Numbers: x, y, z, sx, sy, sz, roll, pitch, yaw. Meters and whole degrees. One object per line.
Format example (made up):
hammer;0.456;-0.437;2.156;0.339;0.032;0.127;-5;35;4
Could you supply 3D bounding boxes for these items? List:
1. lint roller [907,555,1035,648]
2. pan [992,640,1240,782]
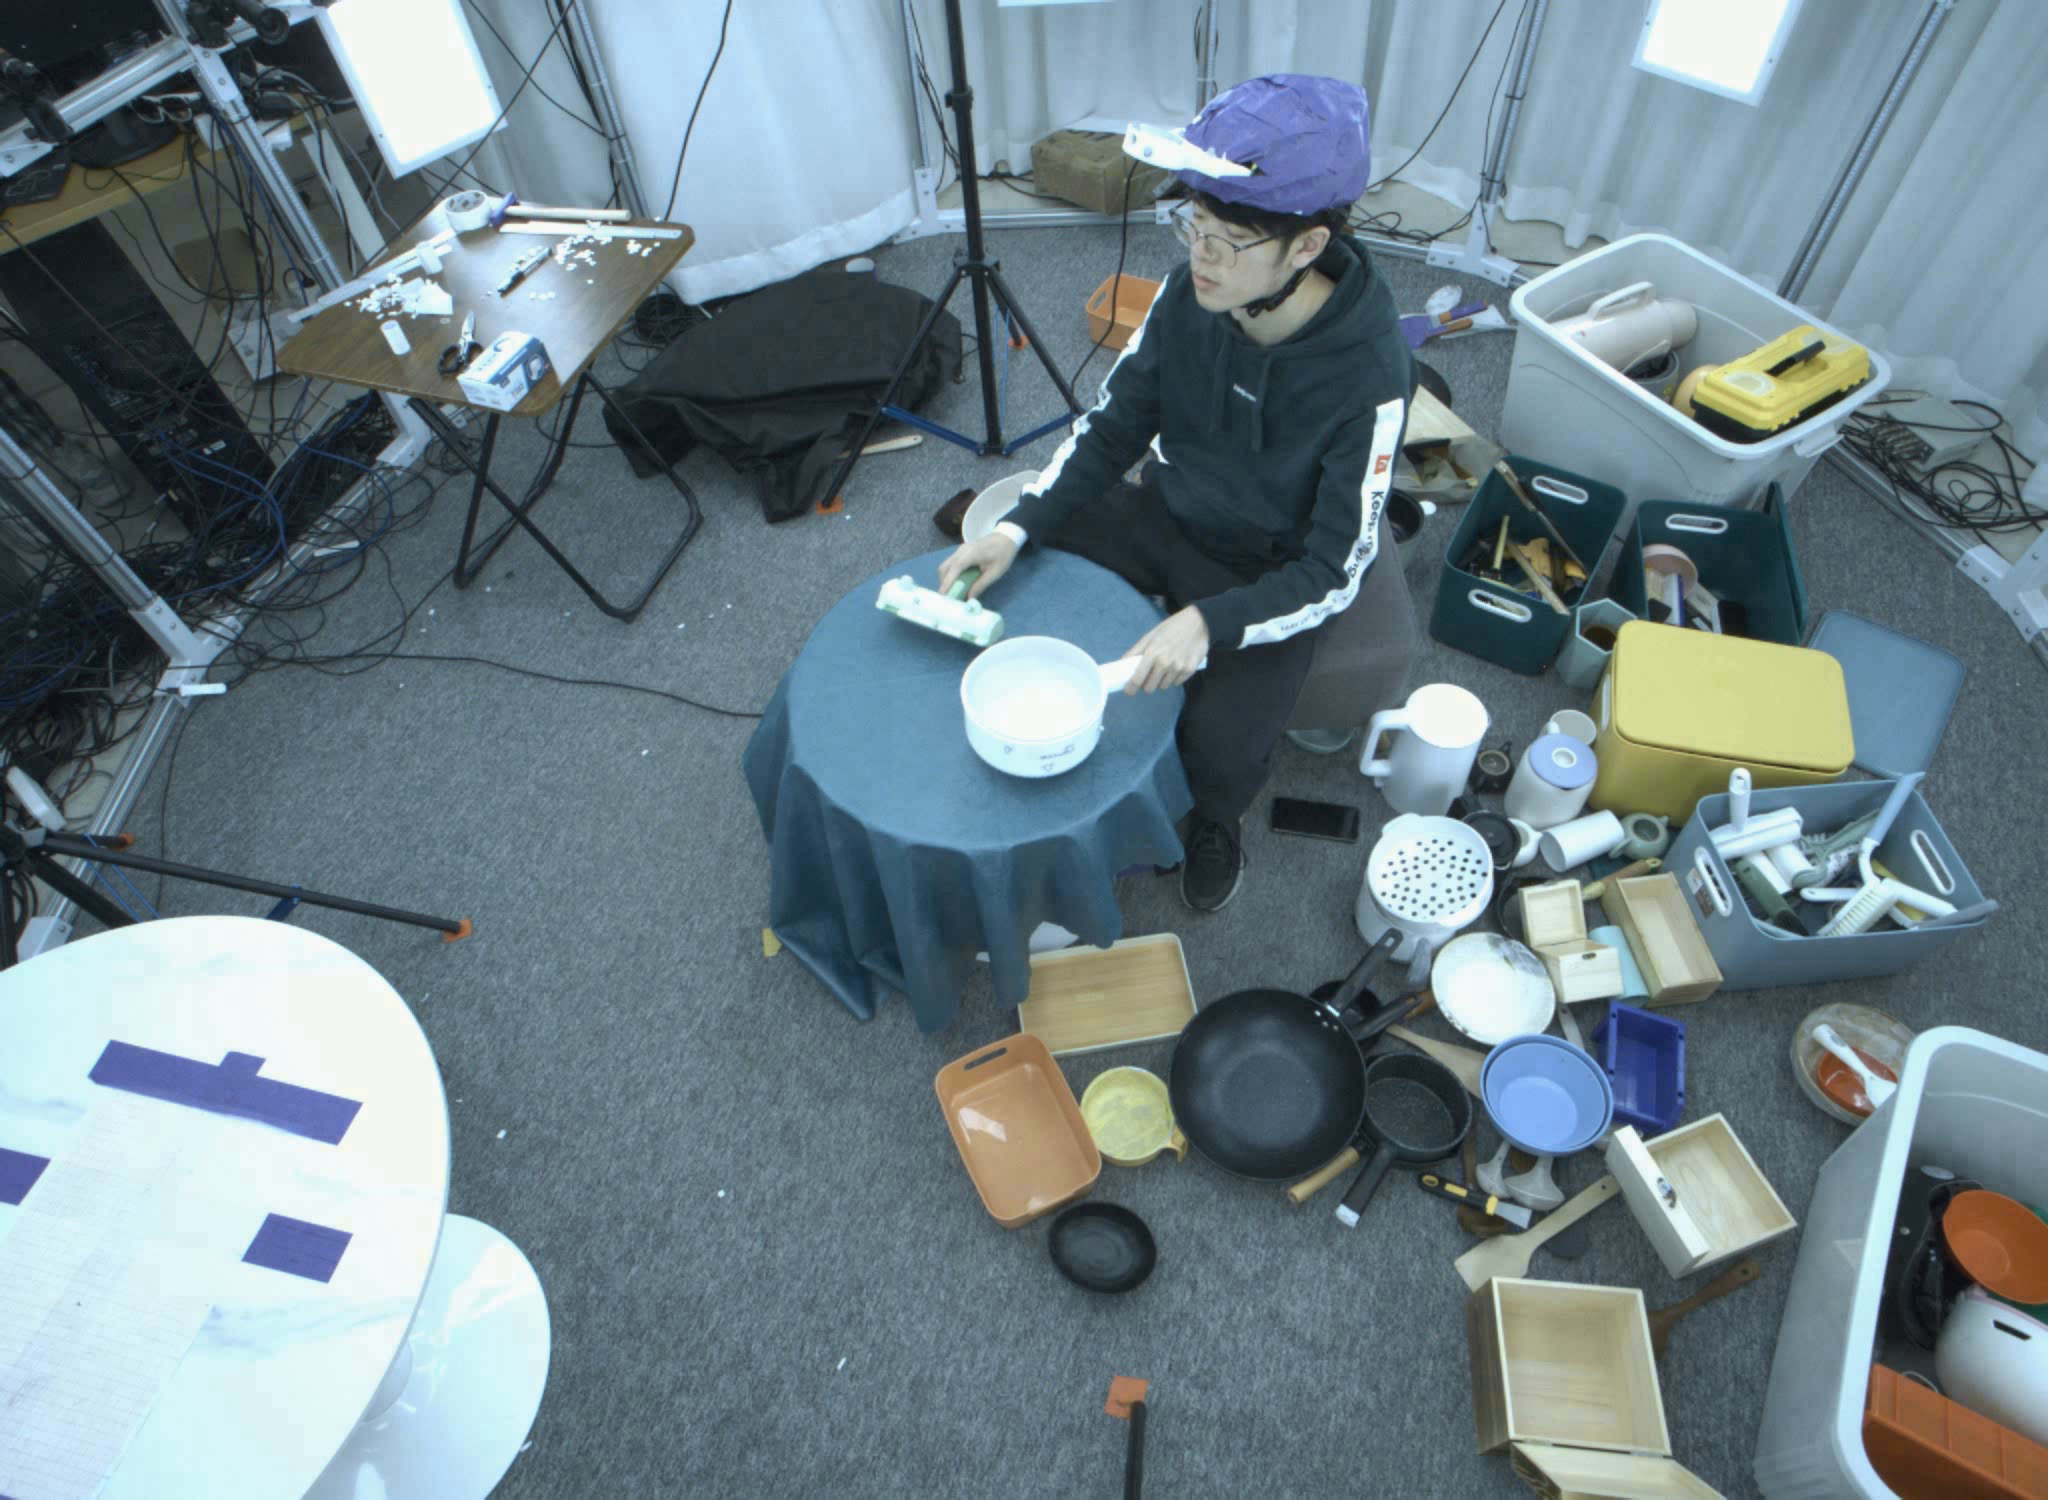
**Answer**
lint roller;-0.055;-0.255;1.891;0.196;0.083;0.183;23;62;17
pan;0.129;-0.065;1.739;0.358;0.103;0.198;-12;52;-13
